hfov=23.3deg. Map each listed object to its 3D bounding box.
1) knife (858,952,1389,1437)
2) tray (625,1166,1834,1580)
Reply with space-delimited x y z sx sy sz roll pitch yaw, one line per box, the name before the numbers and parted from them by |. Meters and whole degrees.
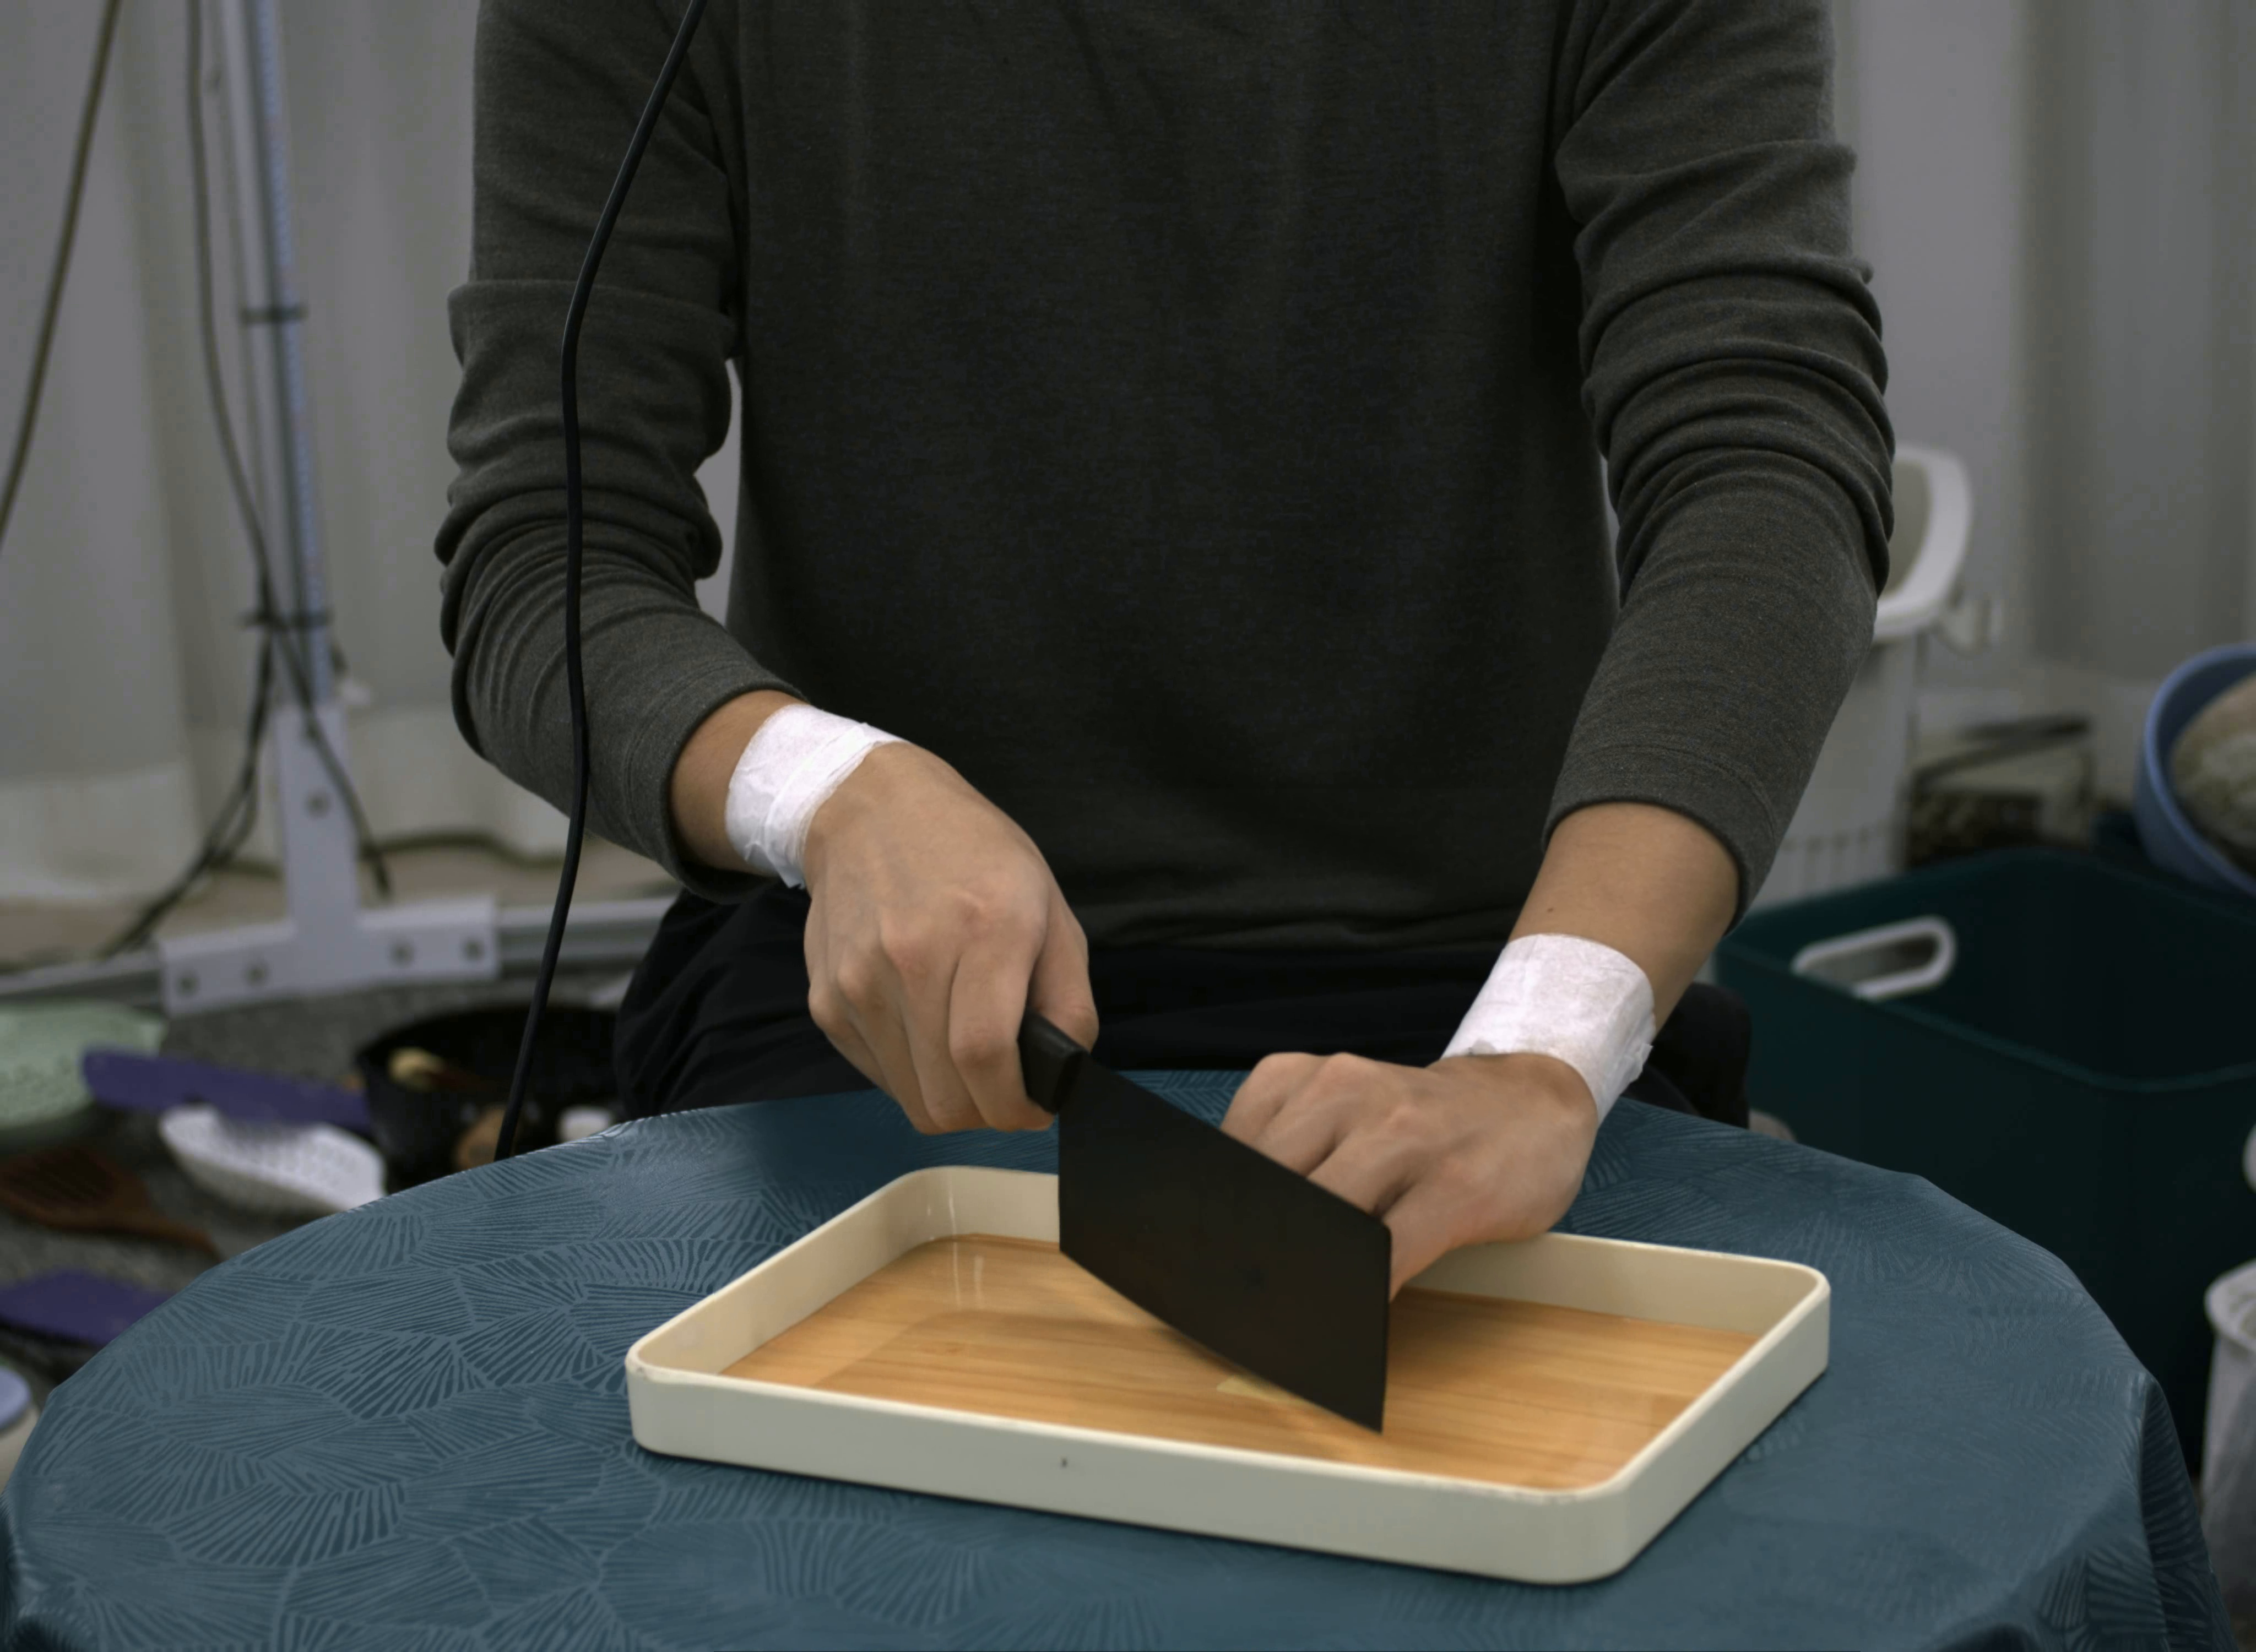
knife | -0.004 0.099 1.578 0.021 0.080 0.305 -5 20 -29
tray | 0.029 0.149 1.530 0.301 0.027 0.192 5 16 27
